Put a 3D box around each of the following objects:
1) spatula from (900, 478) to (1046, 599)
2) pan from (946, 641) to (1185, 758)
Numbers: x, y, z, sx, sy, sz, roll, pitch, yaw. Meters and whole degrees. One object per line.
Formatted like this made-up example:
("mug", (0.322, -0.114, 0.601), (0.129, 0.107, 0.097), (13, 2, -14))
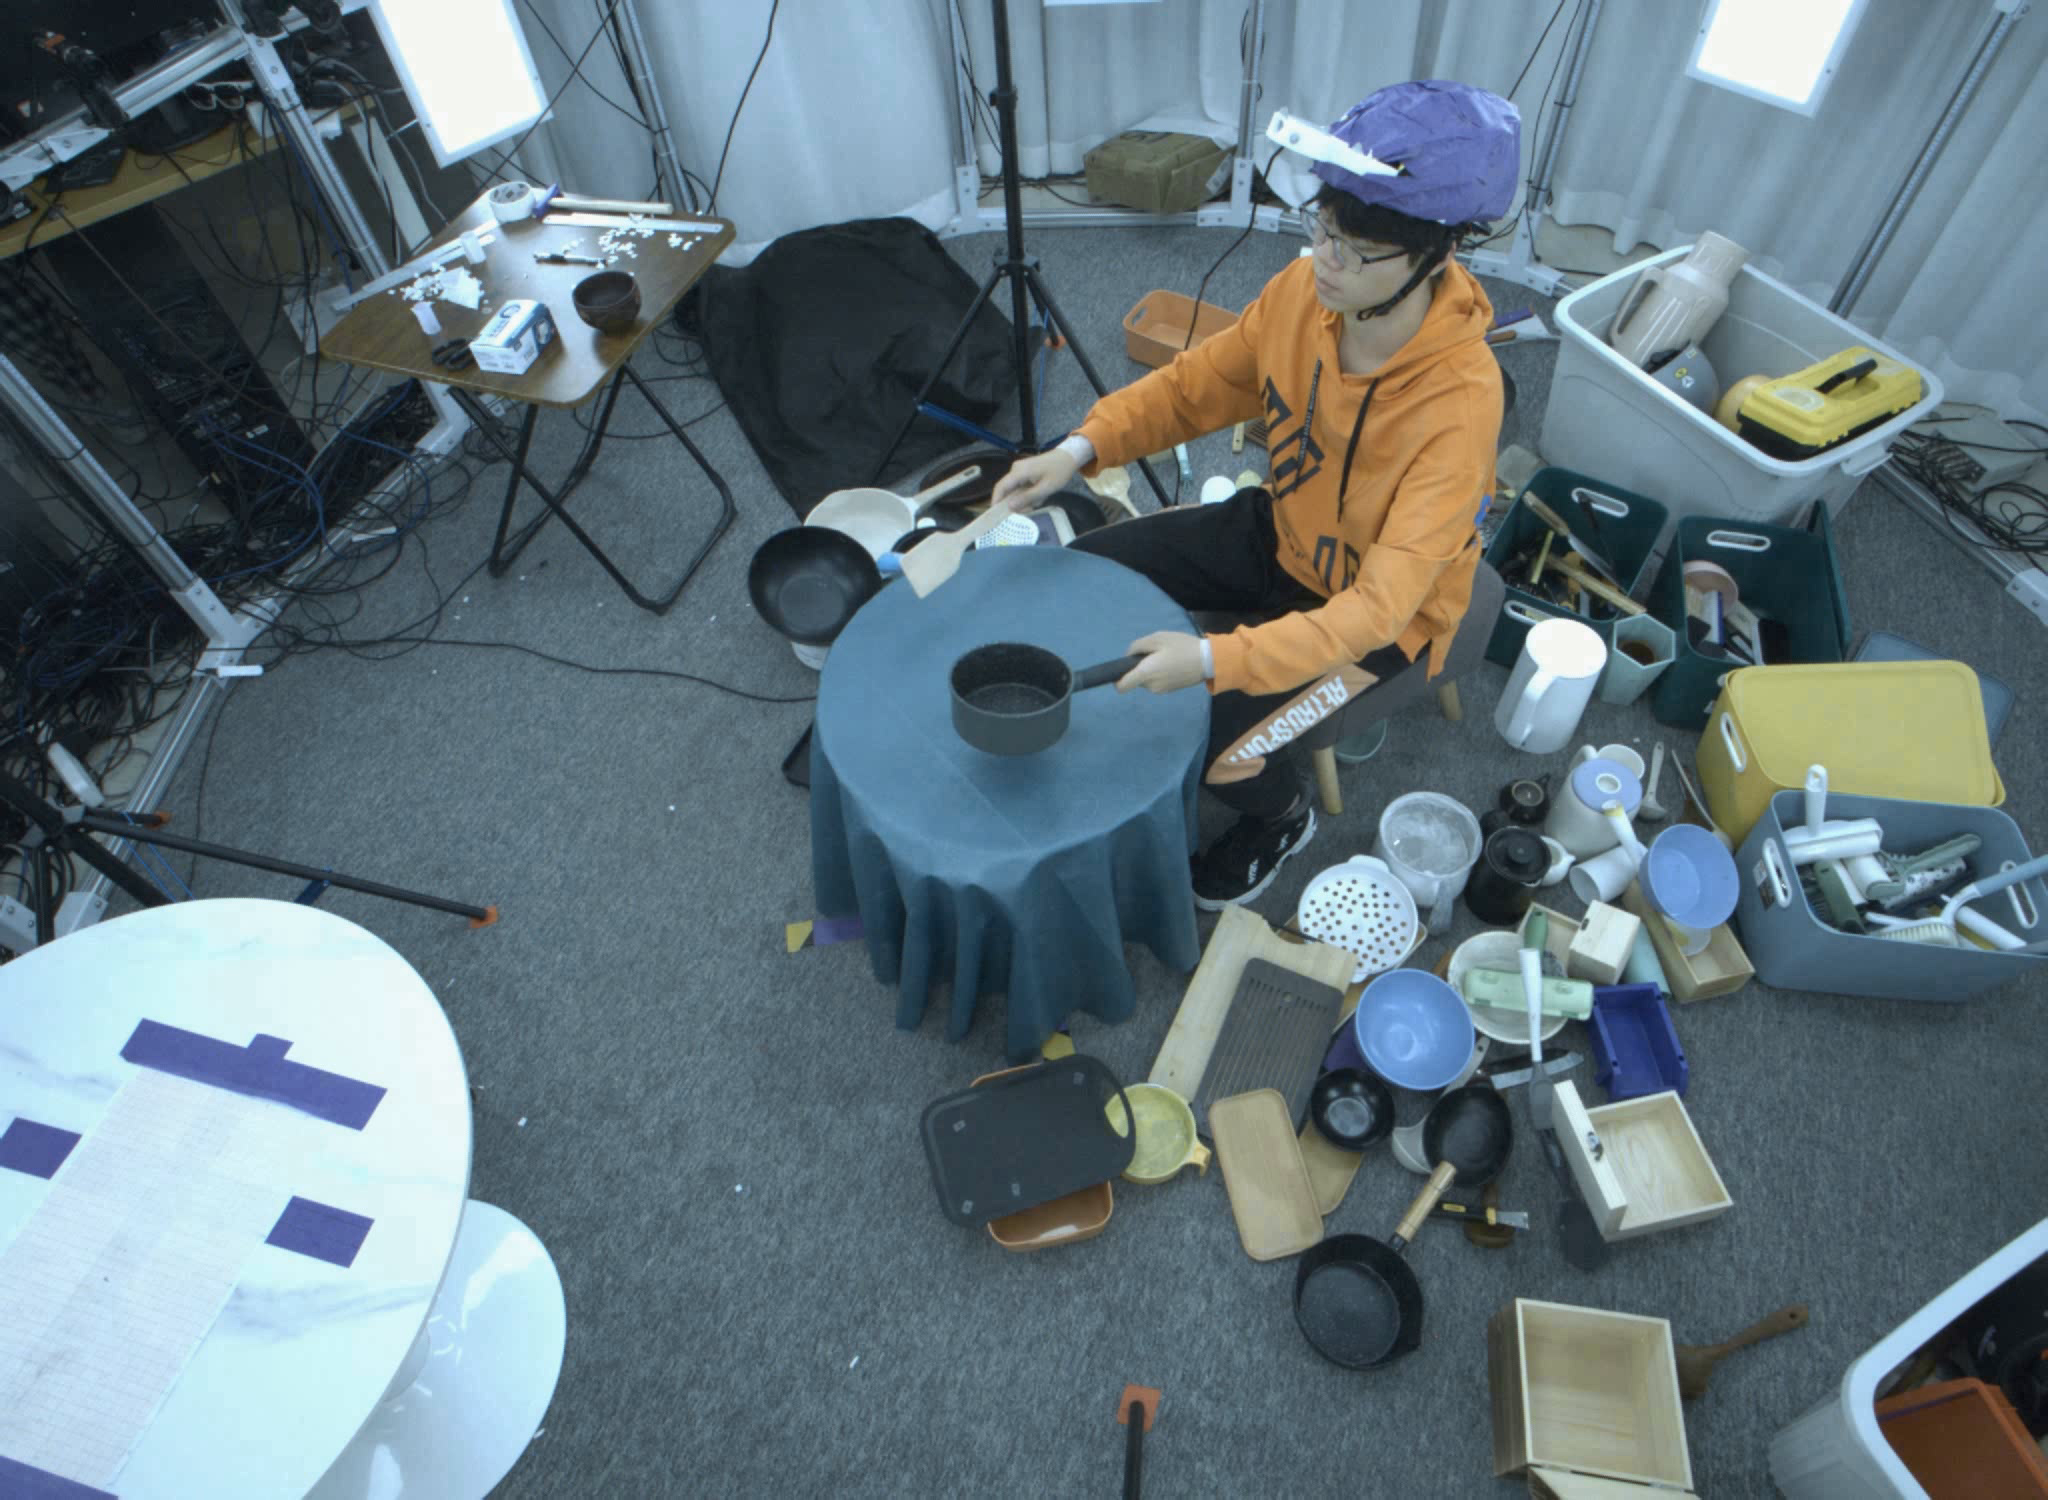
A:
("spatula", (-0.072, -0.339, 1.882), (0.295, 0.073, 0.010), (-41, 25, -25))
("pan", (0.058, -0.081, 1.696), (0.331, 0.087, 0.169), (-8, 44, -10))
